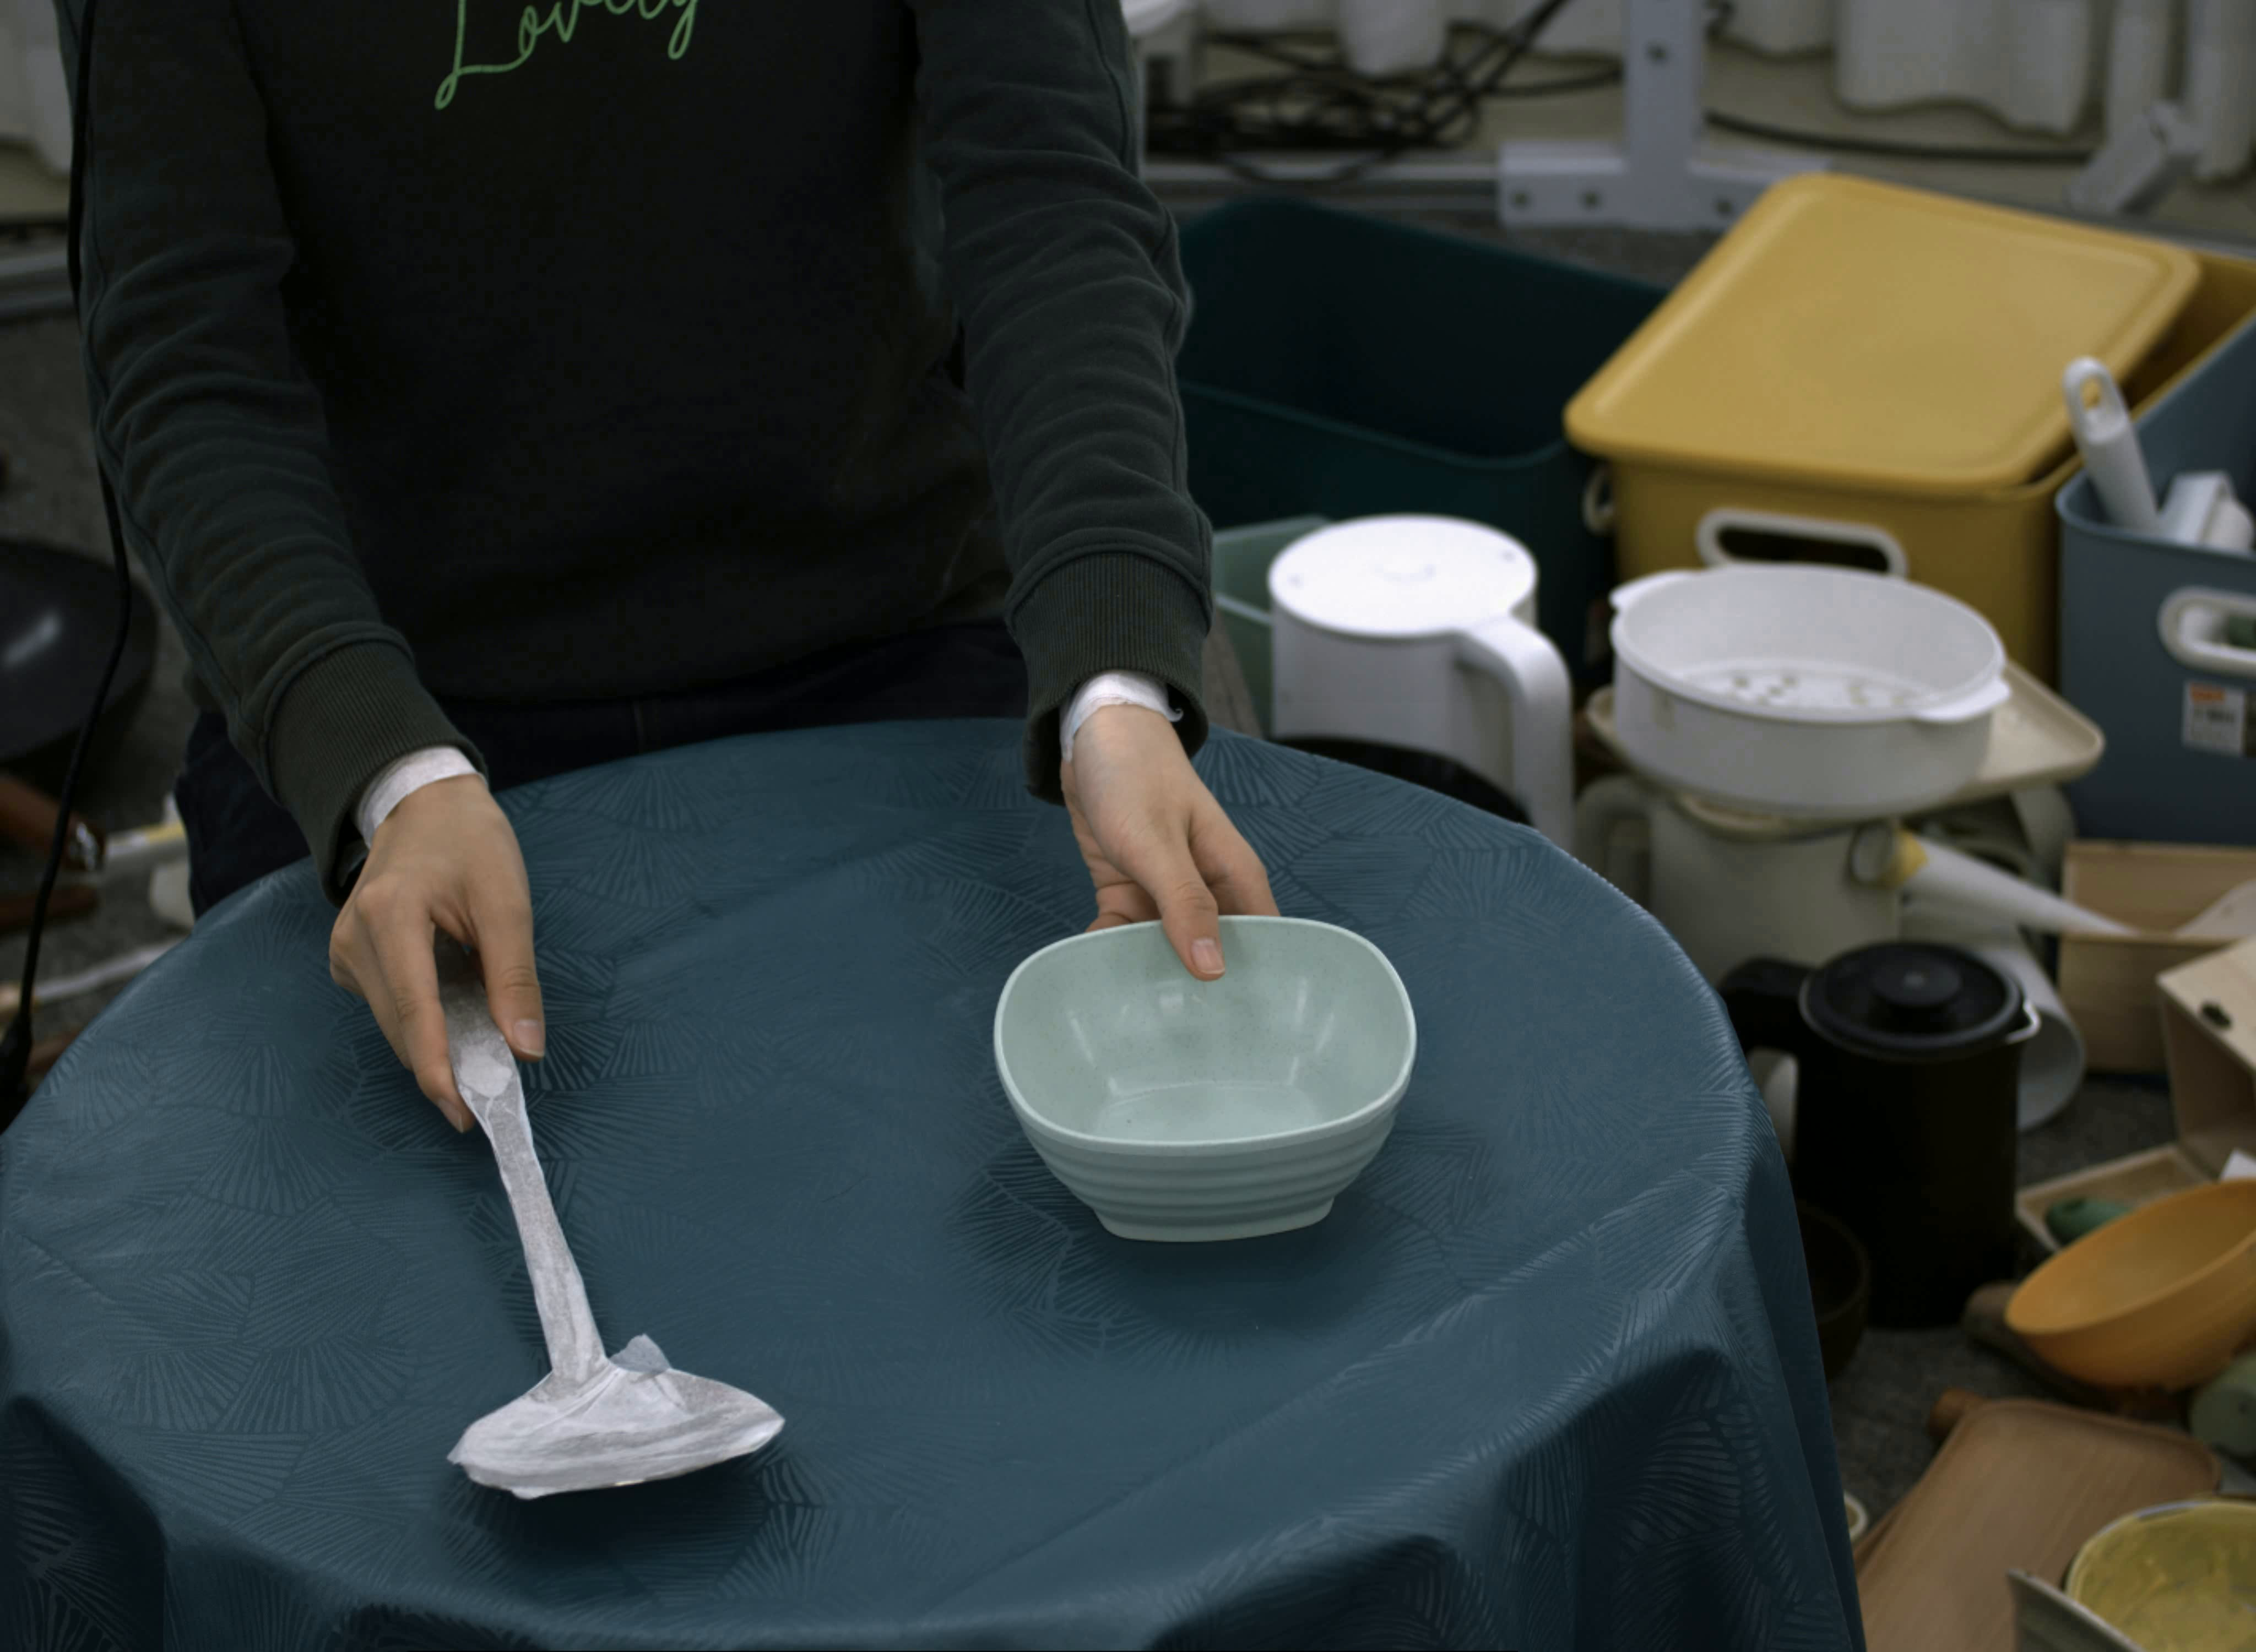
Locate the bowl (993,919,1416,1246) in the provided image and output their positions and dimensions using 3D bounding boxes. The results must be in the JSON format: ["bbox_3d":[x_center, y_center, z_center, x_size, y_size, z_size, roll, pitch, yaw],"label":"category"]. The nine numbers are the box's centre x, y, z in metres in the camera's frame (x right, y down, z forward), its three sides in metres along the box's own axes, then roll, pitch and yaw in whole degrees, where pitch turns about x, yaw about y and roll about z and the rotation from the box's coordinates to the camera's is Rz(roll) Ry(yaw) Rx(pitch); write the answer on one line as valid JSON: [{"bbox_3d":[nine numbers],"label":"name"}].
[{"bbox_3d":[0.025,0.091,1.855,0.151,0.058,0.154,1,30,0],"label":"bowl"}]

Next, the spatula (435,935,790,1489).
[{"bbox_3d":[-0.191,0.117,1.828,0.099,0.044,0.369,-10,33,-12],"label":"spatula"}]
